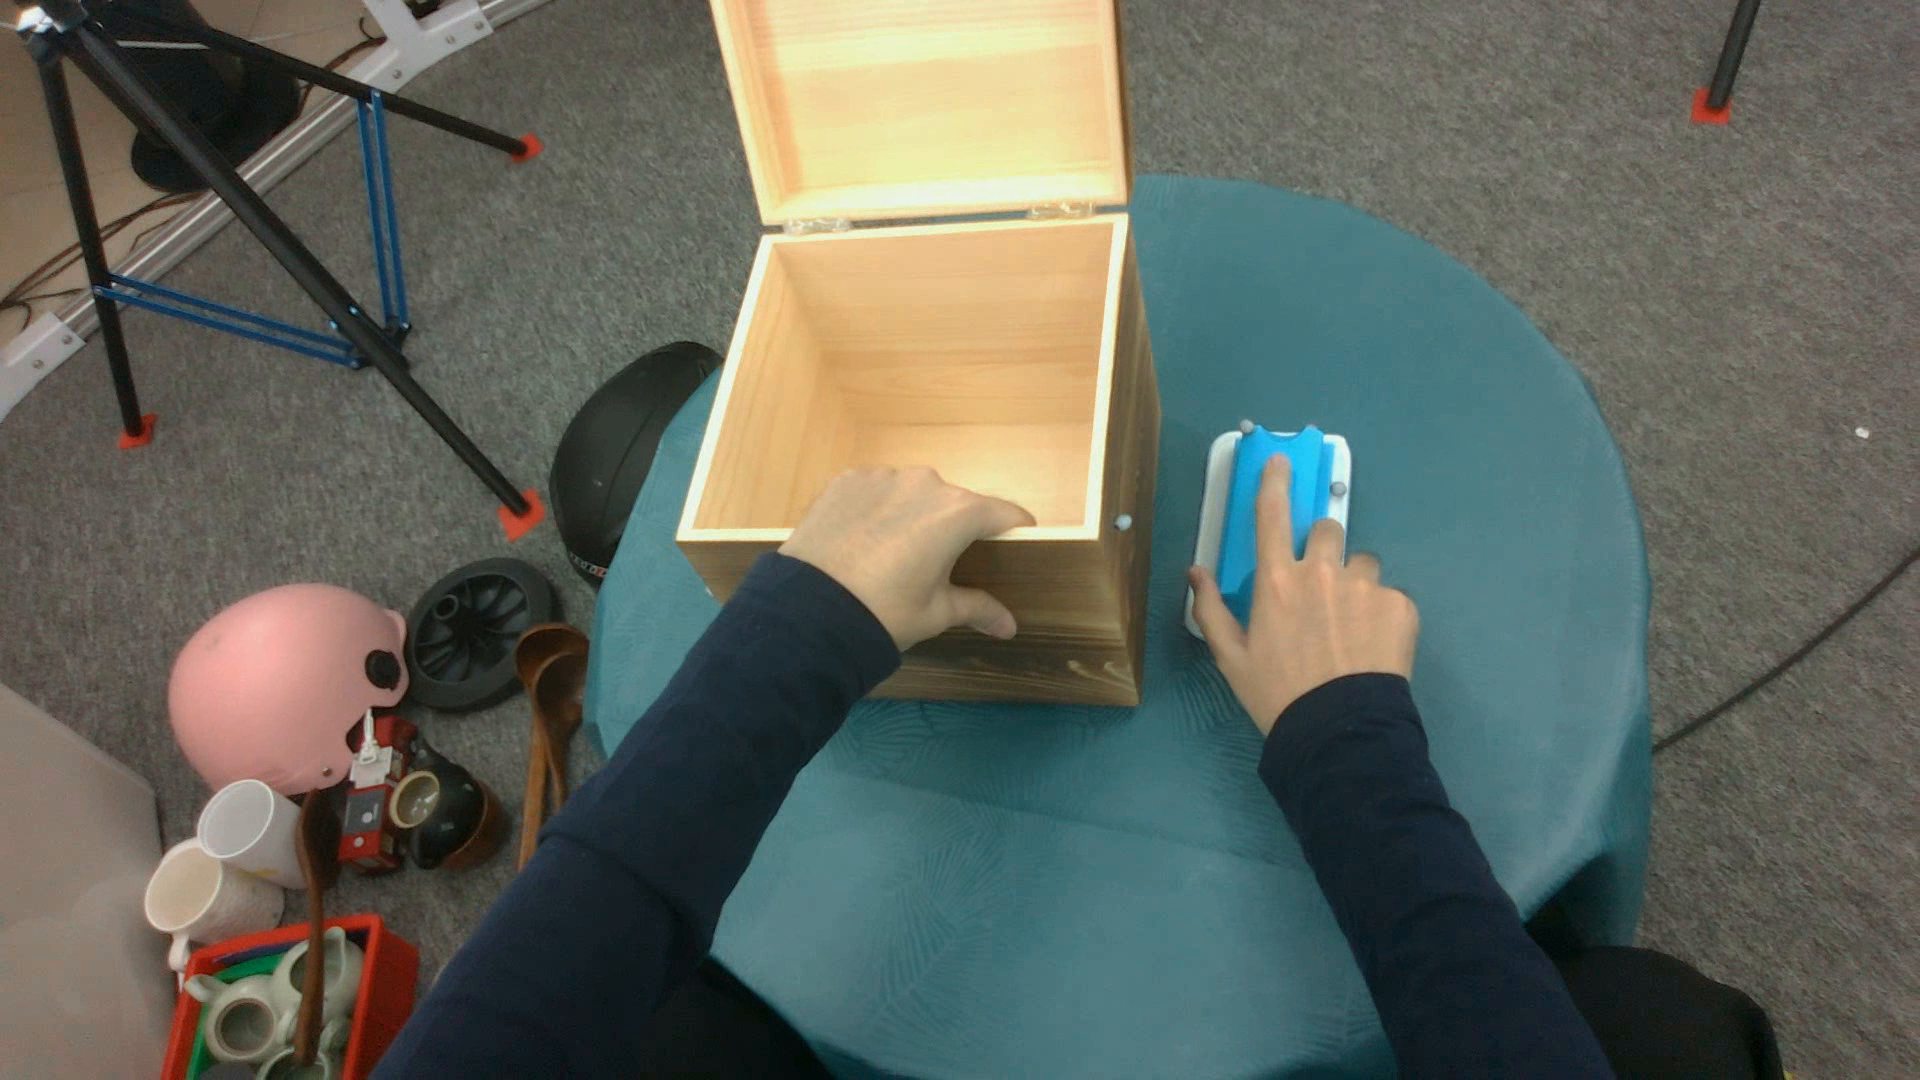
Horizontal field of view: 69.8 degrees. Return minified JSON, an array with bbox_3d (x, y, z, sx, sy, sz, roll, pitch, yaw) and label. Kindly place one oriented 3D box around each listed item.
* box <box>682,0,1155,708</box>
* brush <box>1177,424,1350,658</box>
[{"bbox_3d":[-0.026,-0.129,0.704,0.208,0.374,0.323,-2,57,15],"label":"box"},{"bbox_3d":[0.167,-0.007,0.759,0.084,0.056,0.144,4,59,21],"label":"brush"}]
